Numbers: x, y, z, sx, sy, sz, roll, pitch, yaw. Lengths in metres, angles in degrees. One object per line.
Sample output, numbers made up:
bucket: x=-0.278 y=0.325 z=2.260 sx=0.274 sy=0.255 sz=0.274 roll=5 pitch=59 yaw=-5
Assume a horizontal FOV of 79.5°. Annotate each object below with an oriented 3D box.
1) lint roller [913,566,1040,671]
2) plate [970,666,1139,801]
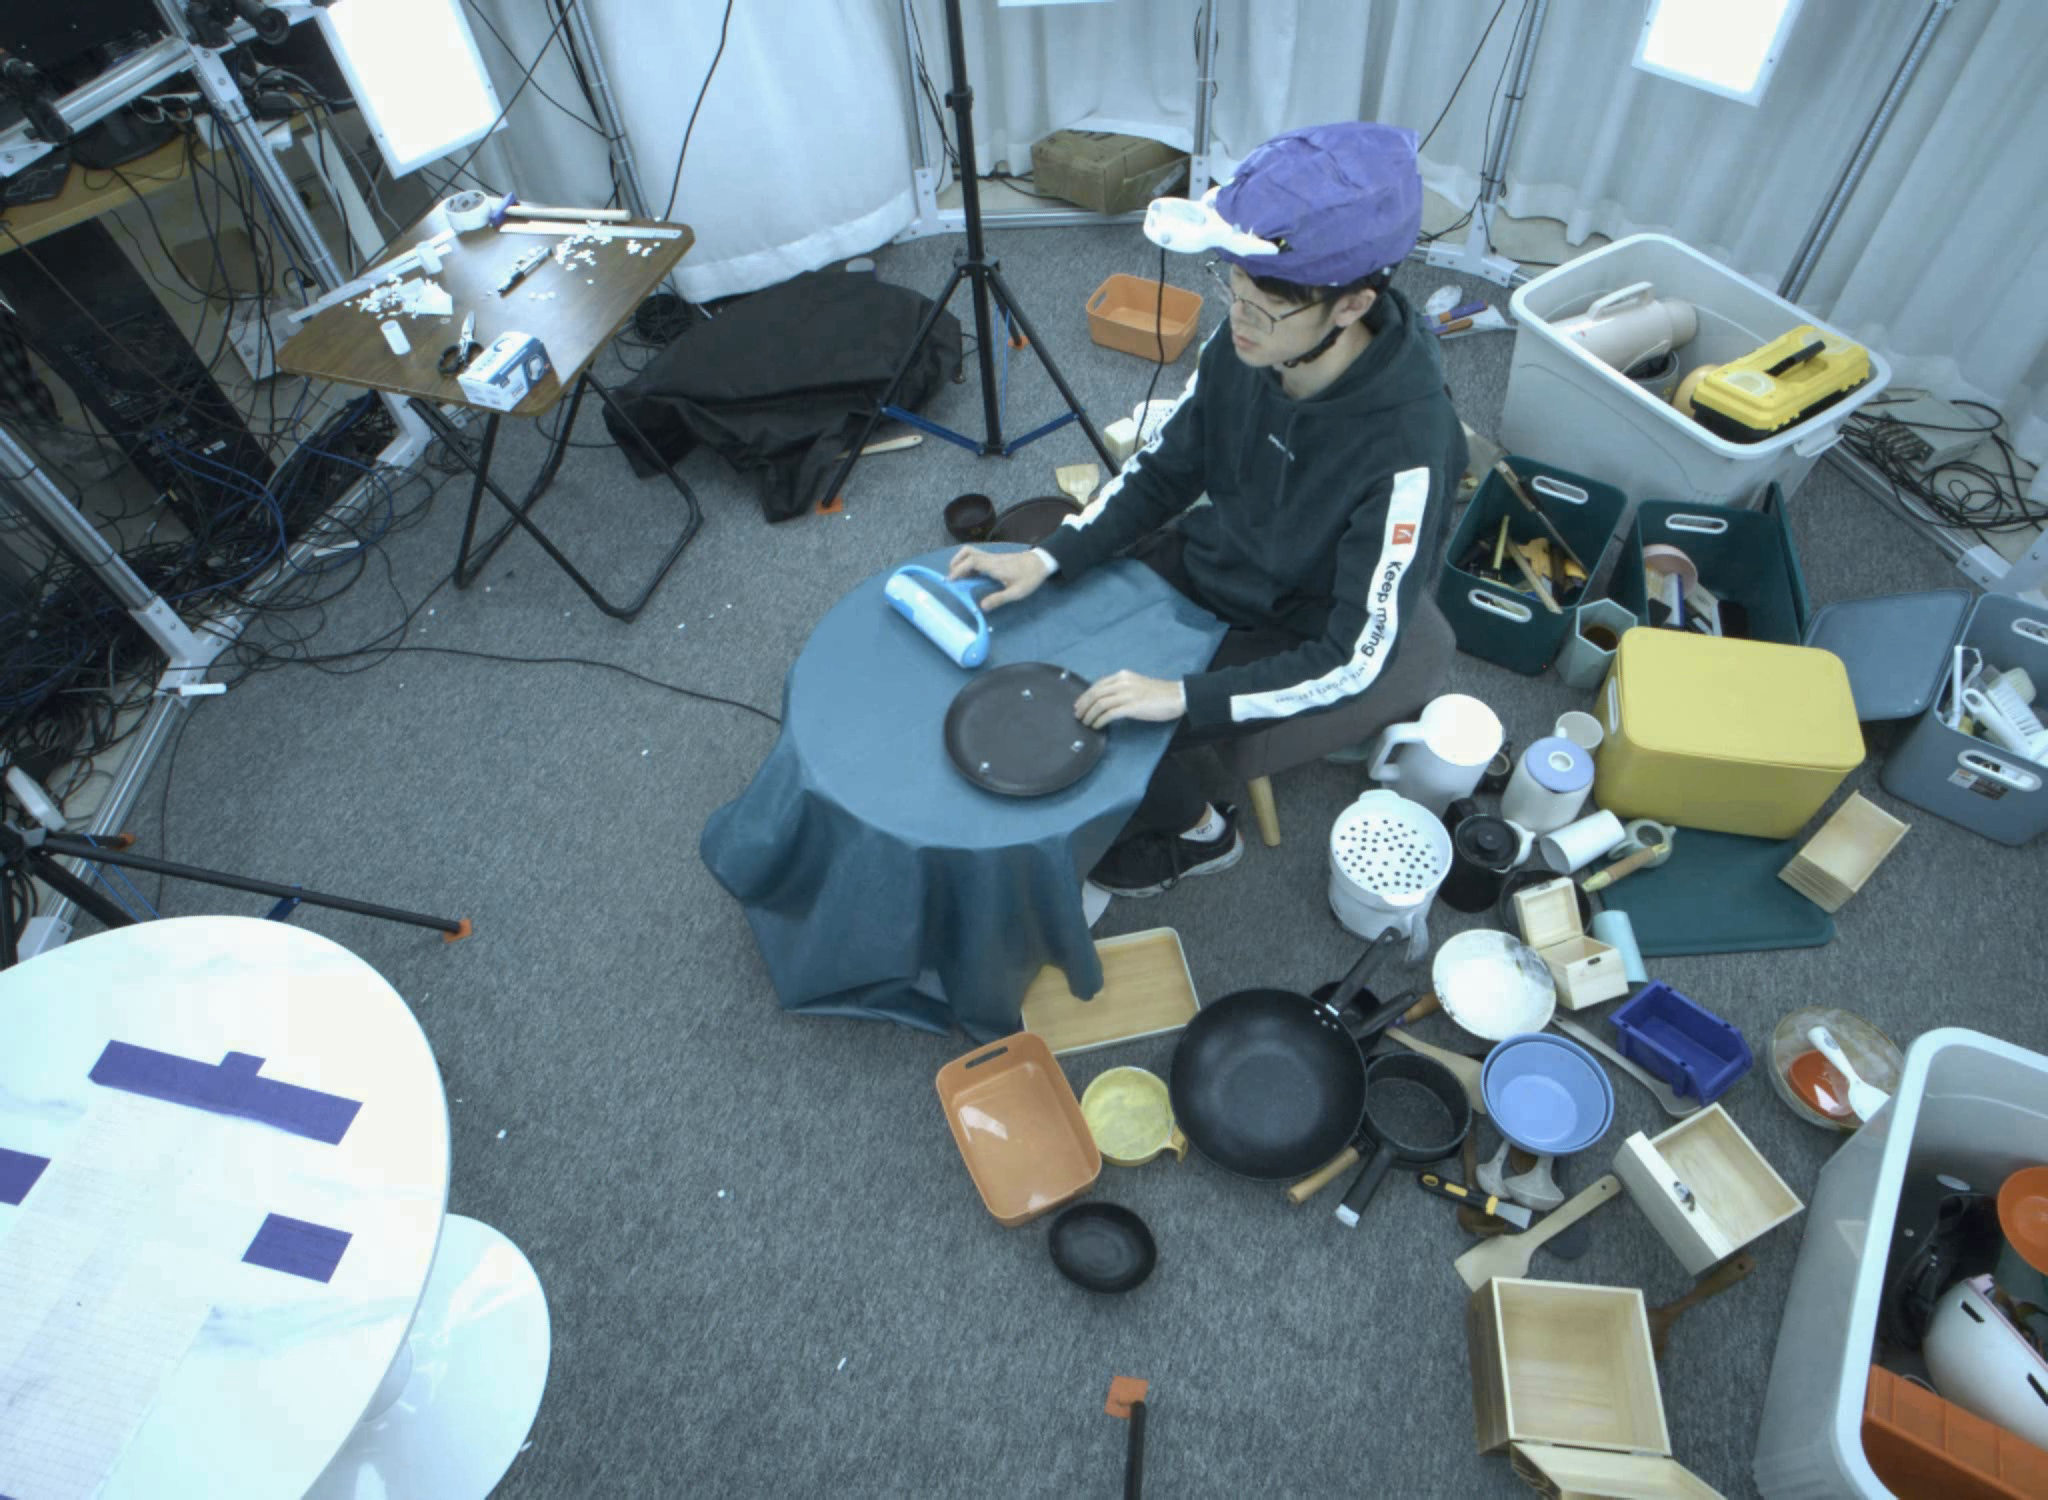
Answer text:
lint roller: x=-0.050 y=-0.232 z=1.915 sx=0.181 sy=0.068 sz=0.224 roll=-37 pitch=61 yaw=-23
plate: x=0.045 y=-0.022 z=1.783 sx=0.244 sy=0.023 sz=0.242 roll=0 pitch=55 yaw=2
